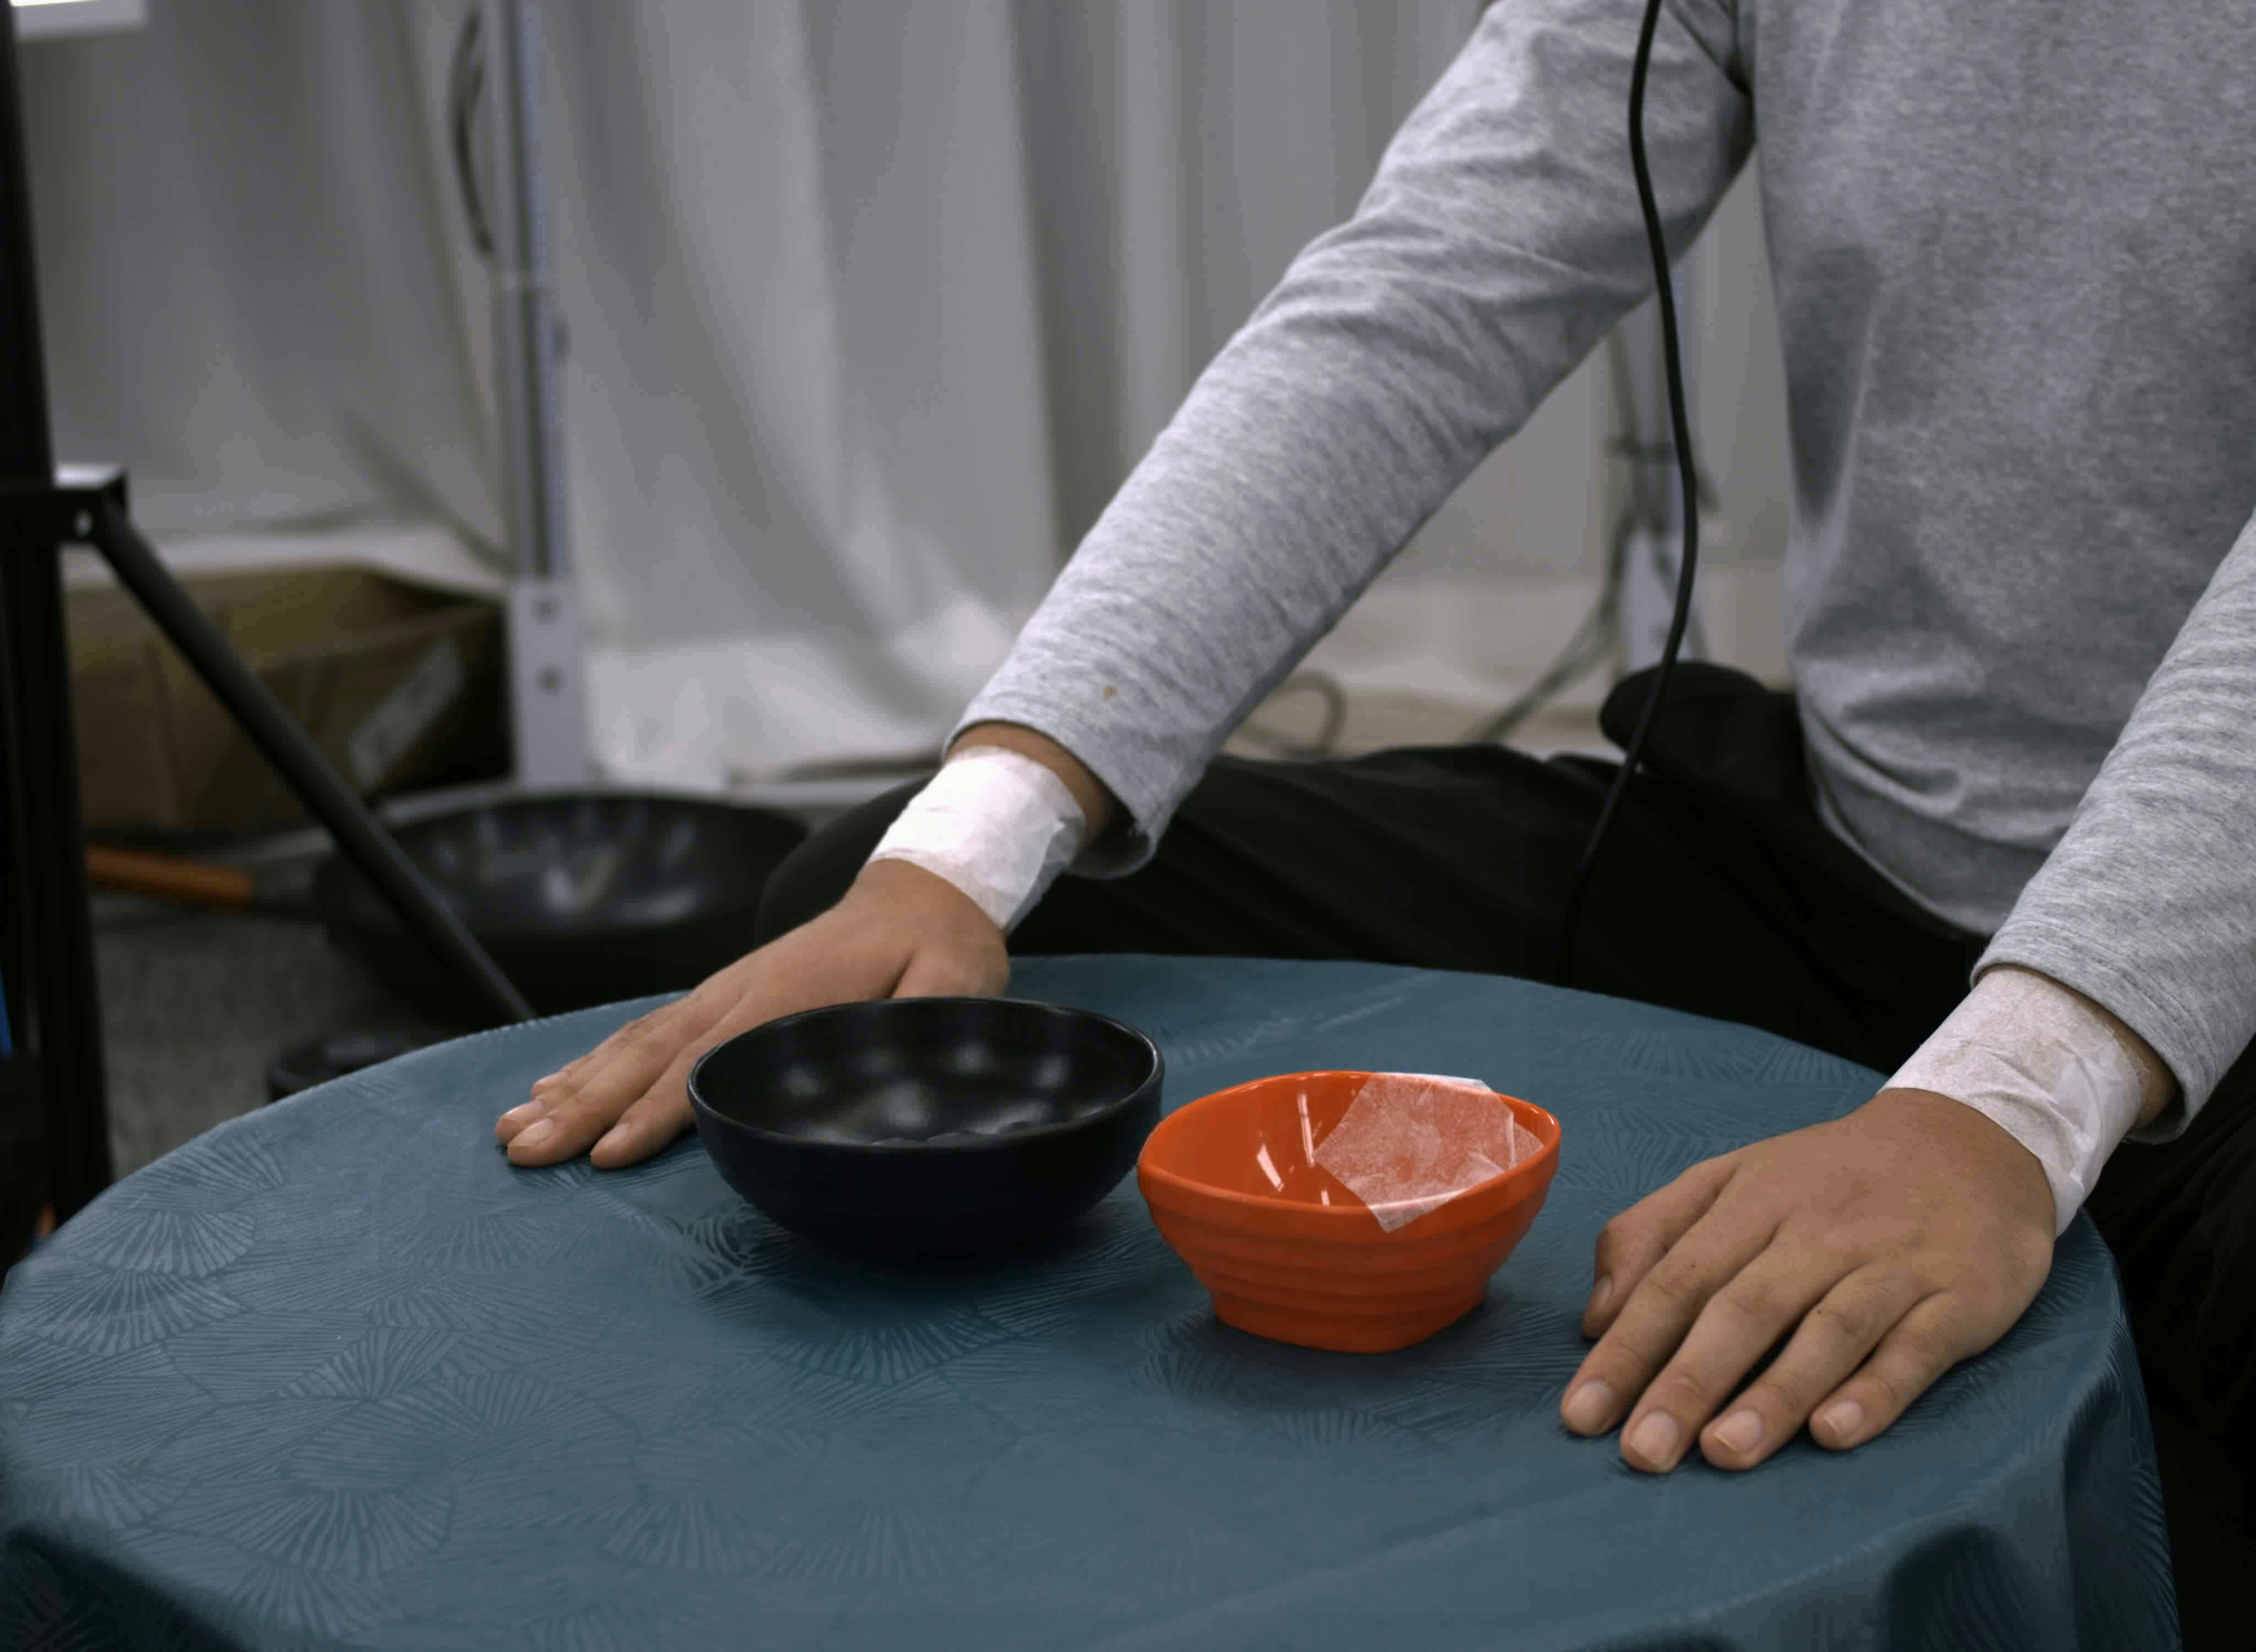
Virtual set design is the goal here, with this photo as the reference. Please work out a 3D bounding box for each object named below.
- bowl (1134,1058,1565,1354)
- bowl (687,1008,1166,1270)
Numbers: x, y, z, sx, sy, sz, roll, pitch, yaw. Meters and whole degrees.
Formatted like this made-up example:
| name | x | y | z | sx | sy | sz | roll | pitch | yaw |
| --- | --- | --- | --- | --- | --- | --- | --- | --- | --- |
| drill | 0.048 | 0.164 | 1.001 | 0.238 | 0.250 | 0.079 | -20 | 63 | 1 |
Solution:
| name | x | y | z | sx | sy | sz | roll | pitch | yaw |
| --- | --- | --- | --- | --- | --- | --- | --- | --- | --- |
| bowl | 0.063 | 0.107 | 1.454 | 0.118 | 0.051 | 0.119 | -5 | 17 | 0 |
| bowl | -0.058 | 0.095 | 1.538 | 0.139 | 0.050 | 0.140 | 1 | 14 | -2 |
